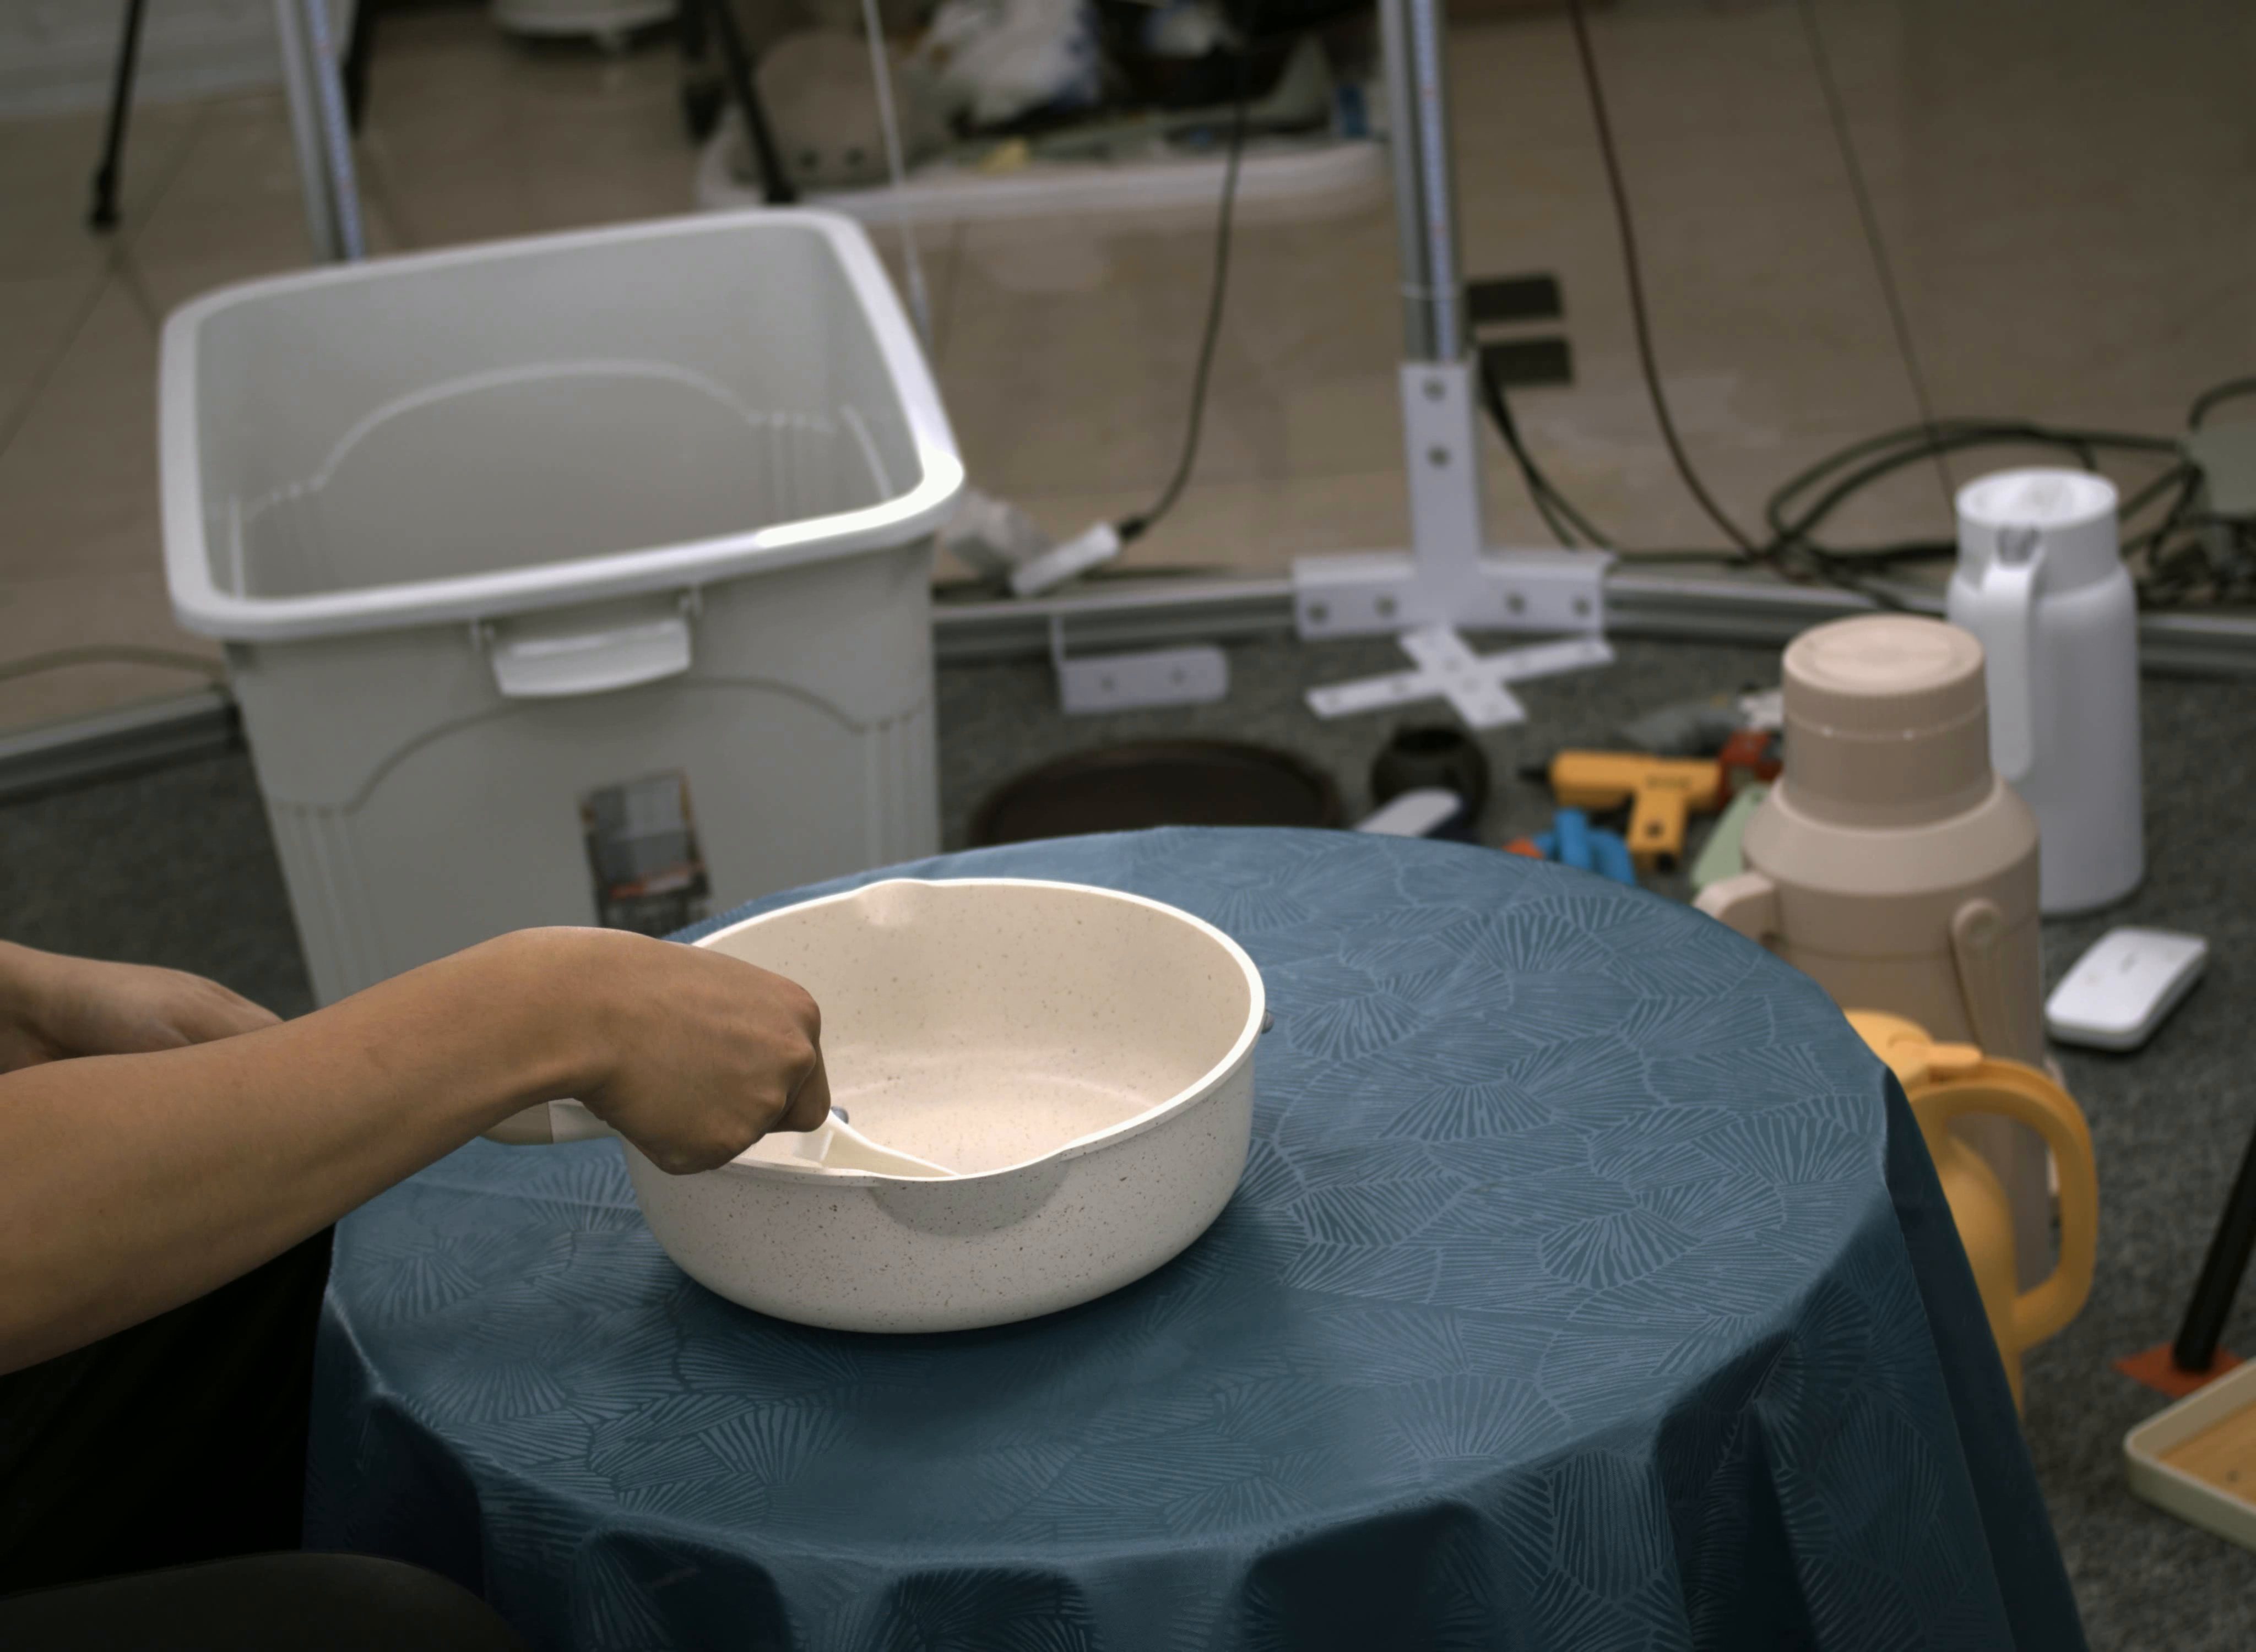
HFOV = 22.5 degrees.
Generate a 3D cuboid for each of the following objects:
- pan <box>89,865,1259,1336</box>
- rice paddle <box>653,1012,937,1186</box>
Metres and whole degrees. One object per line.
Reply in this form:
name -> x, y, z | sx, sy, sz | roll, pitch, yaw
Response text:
pan -> -0.164, 0.114, 2.124 | 0.434, 0.104, 0.259 | -8, 27, -6
rice paddle -> -0.111, 0.109, 2.052 | 0.068, 0.029, 0.207 | 12, -12, 27
